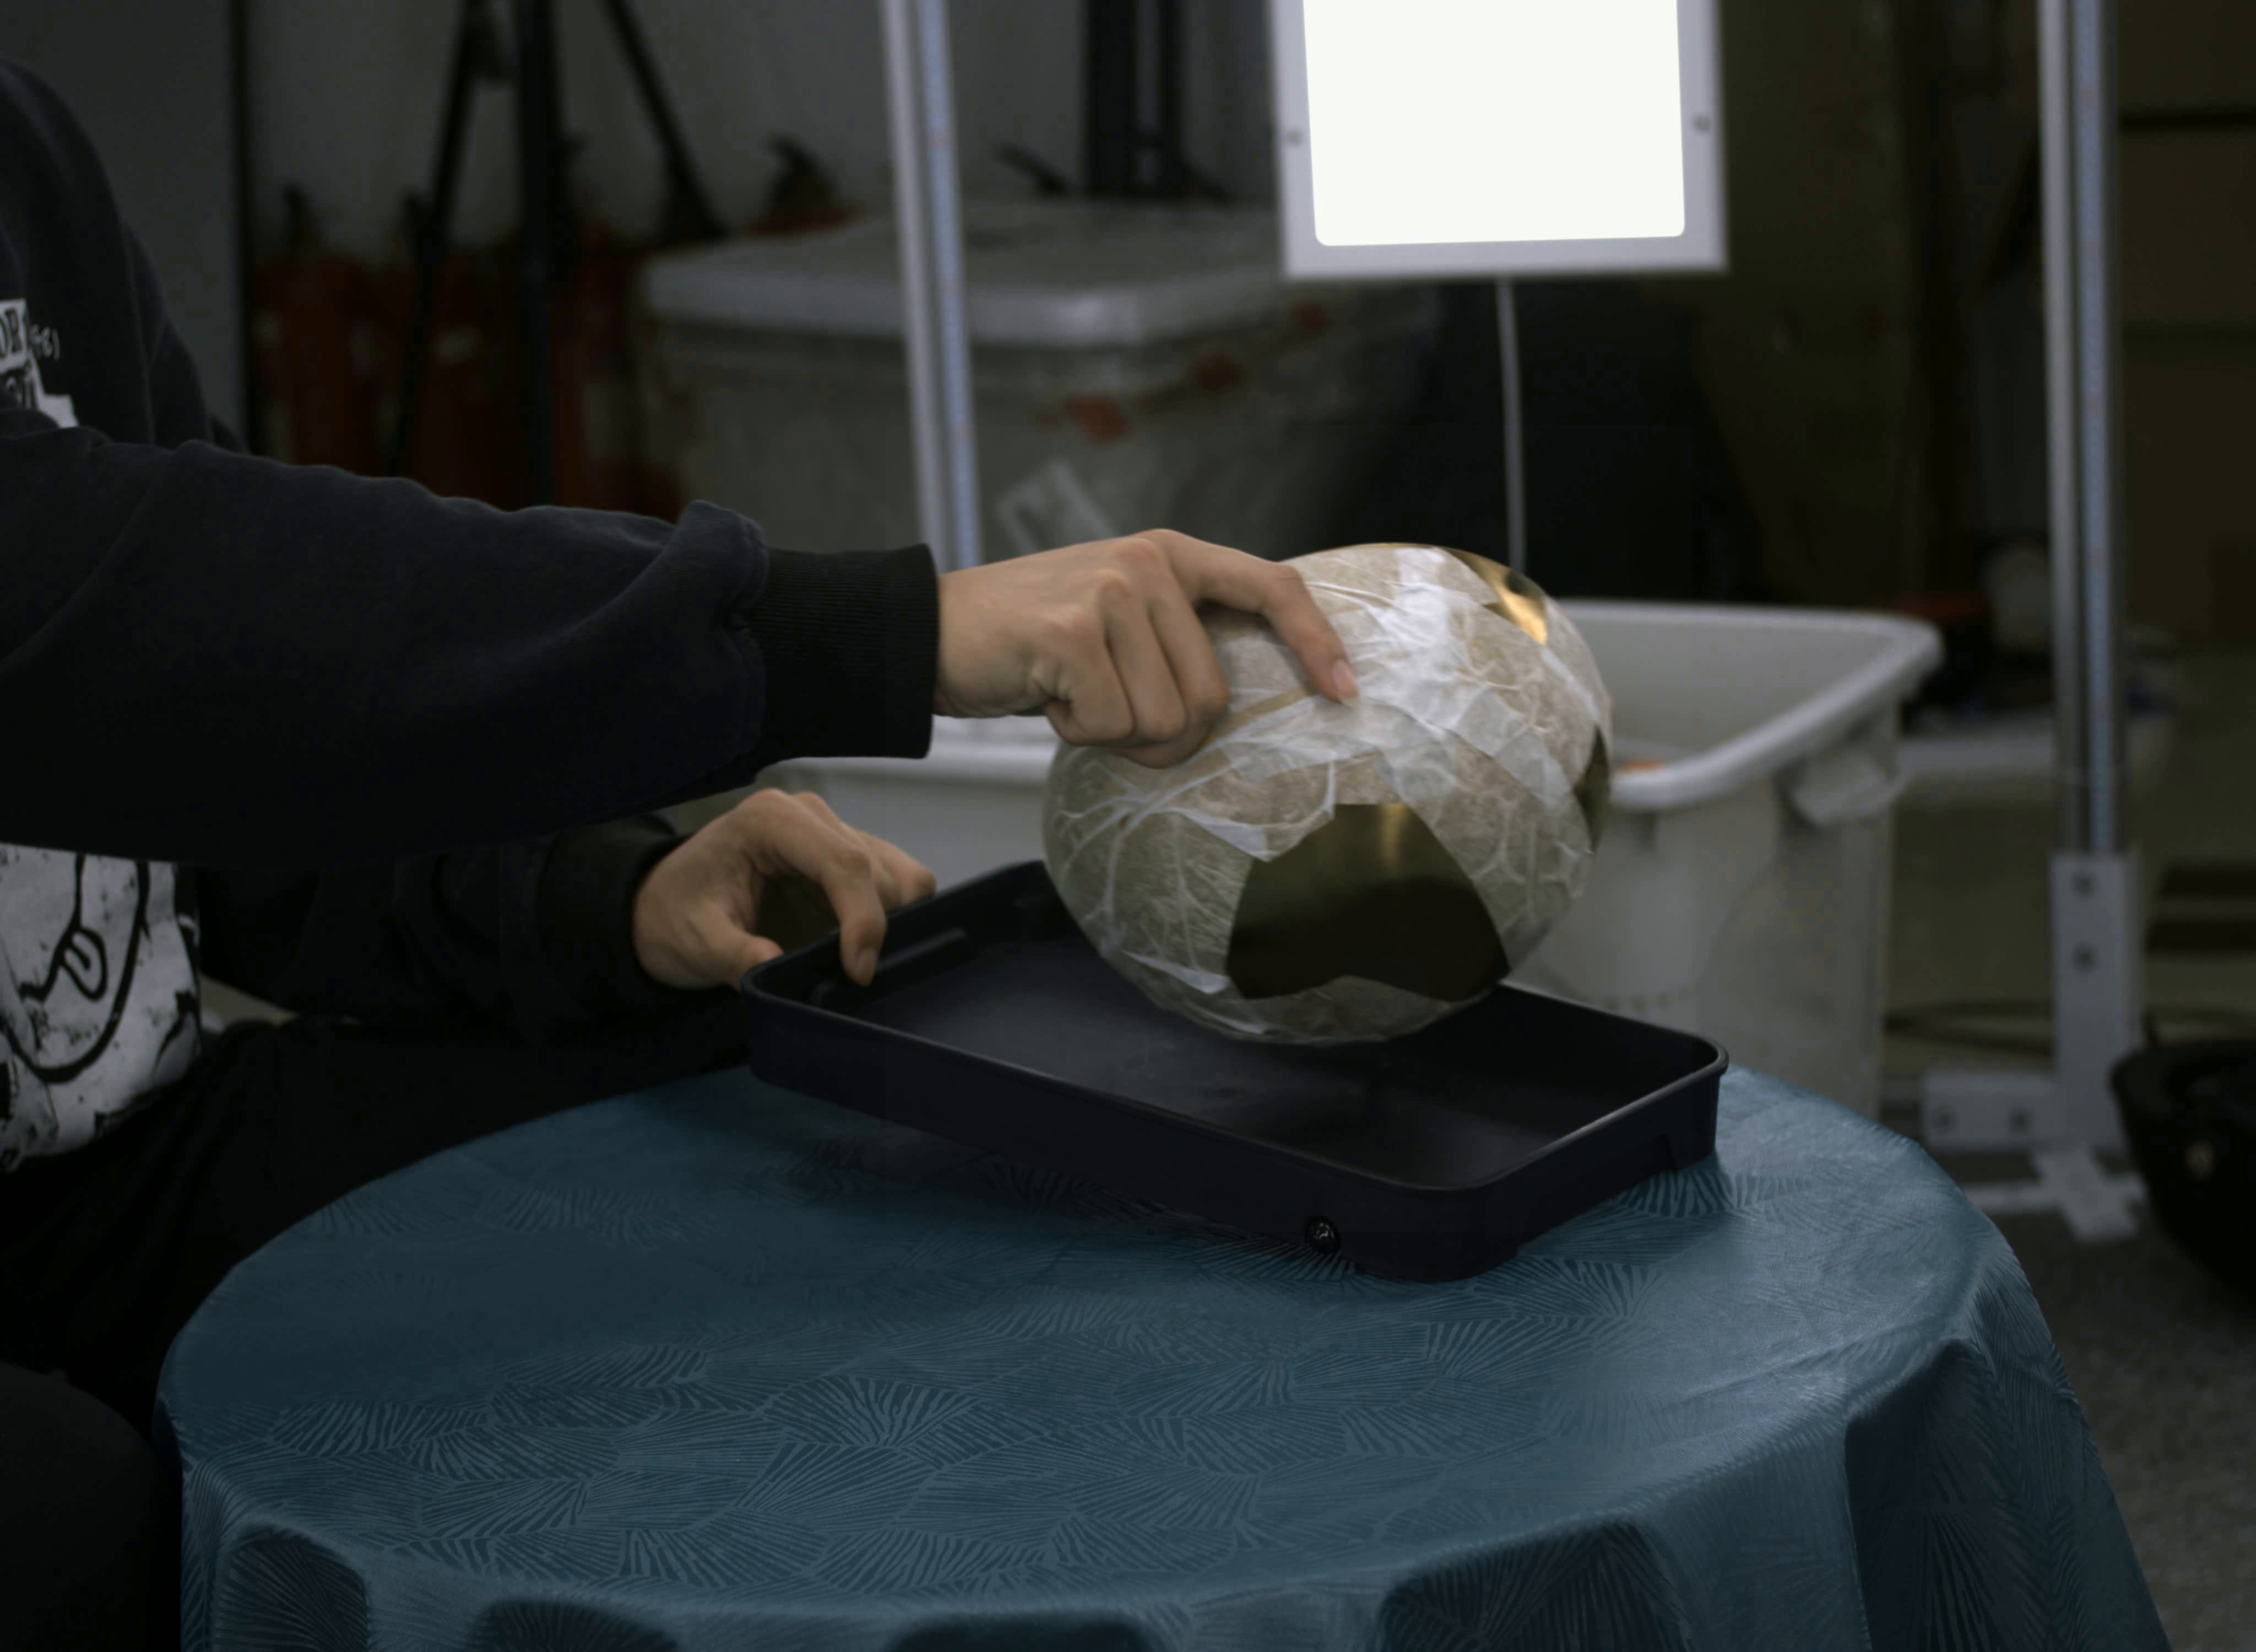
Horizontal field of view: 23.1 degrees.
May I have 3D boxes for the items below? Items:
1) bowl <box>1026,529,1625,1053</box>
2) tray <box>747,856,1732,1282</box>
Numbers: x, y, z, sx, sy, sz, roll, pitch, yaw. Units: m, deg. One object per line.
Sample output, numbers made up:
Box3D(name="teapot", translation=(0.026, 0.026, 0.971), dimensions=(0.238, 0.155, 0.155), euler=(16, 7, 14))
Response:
Box3D(name="bowl", translation=(0.078, 0.010, 1.872), dimensions=(0.212, 0.216, 0.095), euler=(-6, 45, -11))
Box3D(name="tray", translation=(0.036, 0.080, 1.918), dimensions=(0.324, 0.037, 0.179), euler=(15, 25, 38))
